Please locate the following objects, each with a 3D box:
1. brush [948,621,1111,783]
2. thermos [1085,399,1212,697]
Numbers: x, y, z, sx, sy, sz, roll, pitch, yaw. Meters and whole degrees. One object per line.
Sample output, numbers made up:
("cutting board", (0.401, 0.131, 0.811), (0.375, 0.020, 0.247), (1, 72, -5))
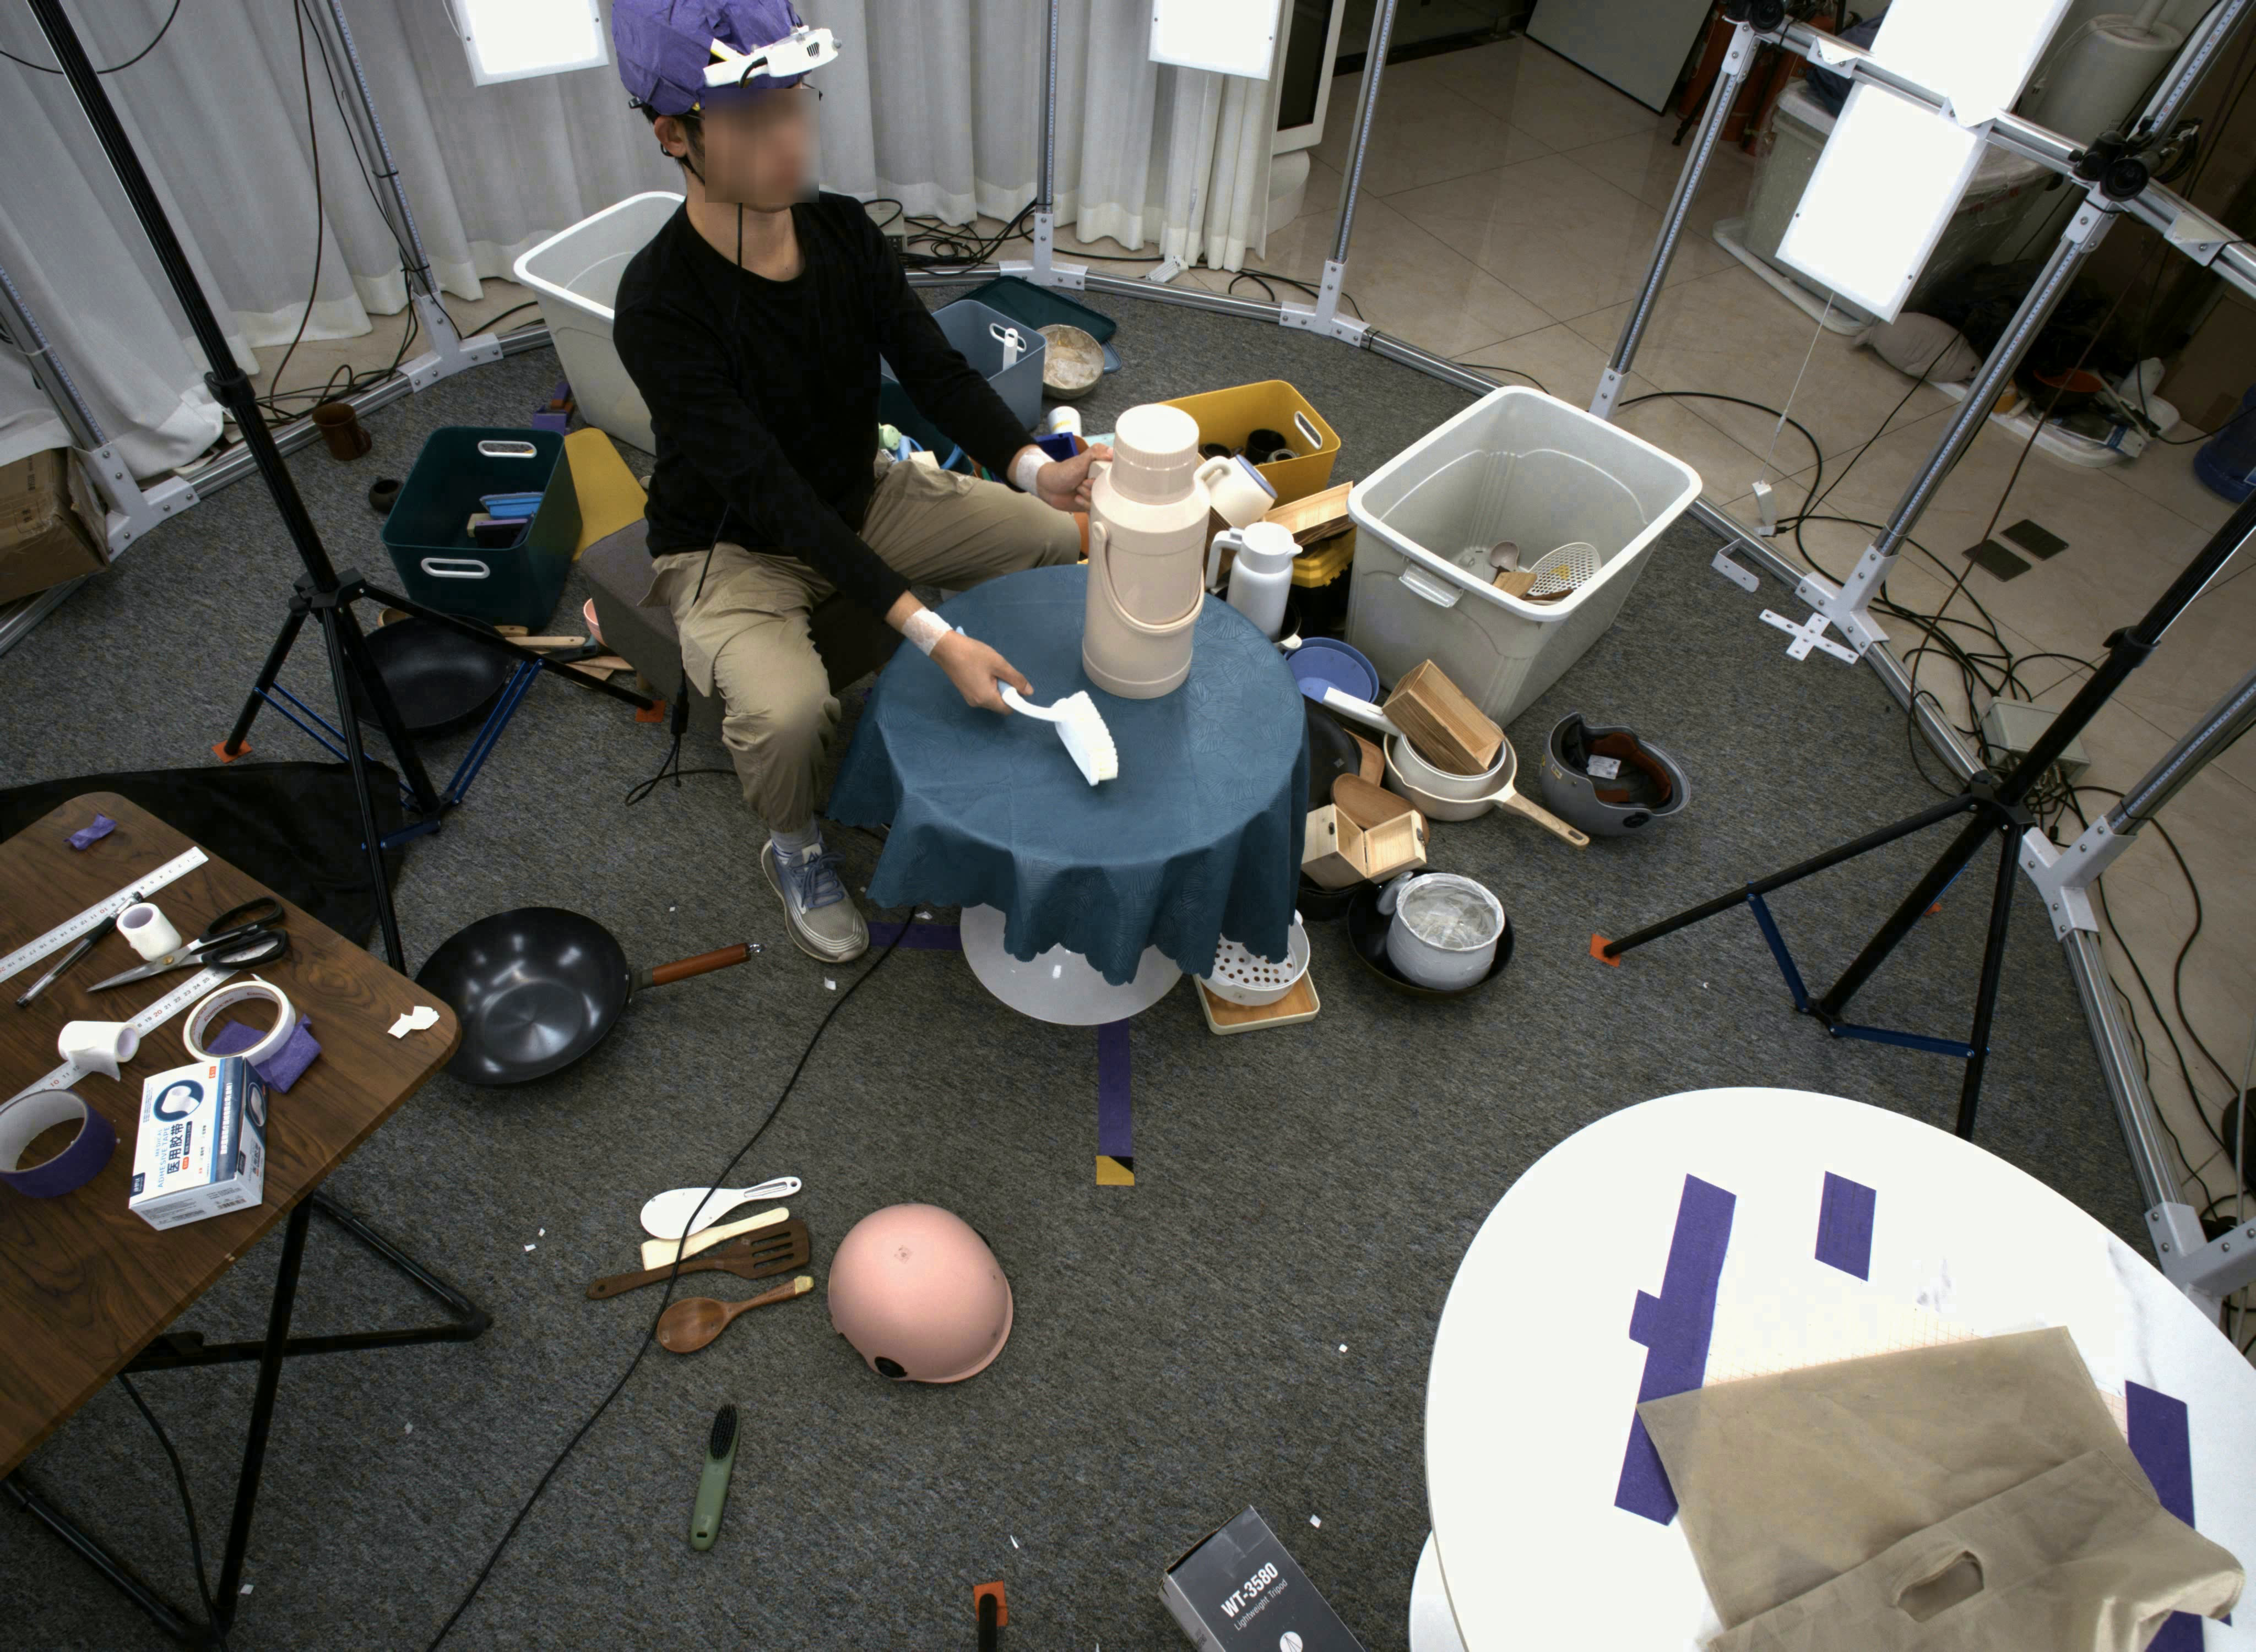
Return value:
("brush", (-0.121, -0.187, 1.746), (0.330, 0.082, 0.084), (48, 24, 23))
("thermos", (0.018, -0.378, 1.743), (0.176, 0.396, 0.211), (-30, 58, -25))
